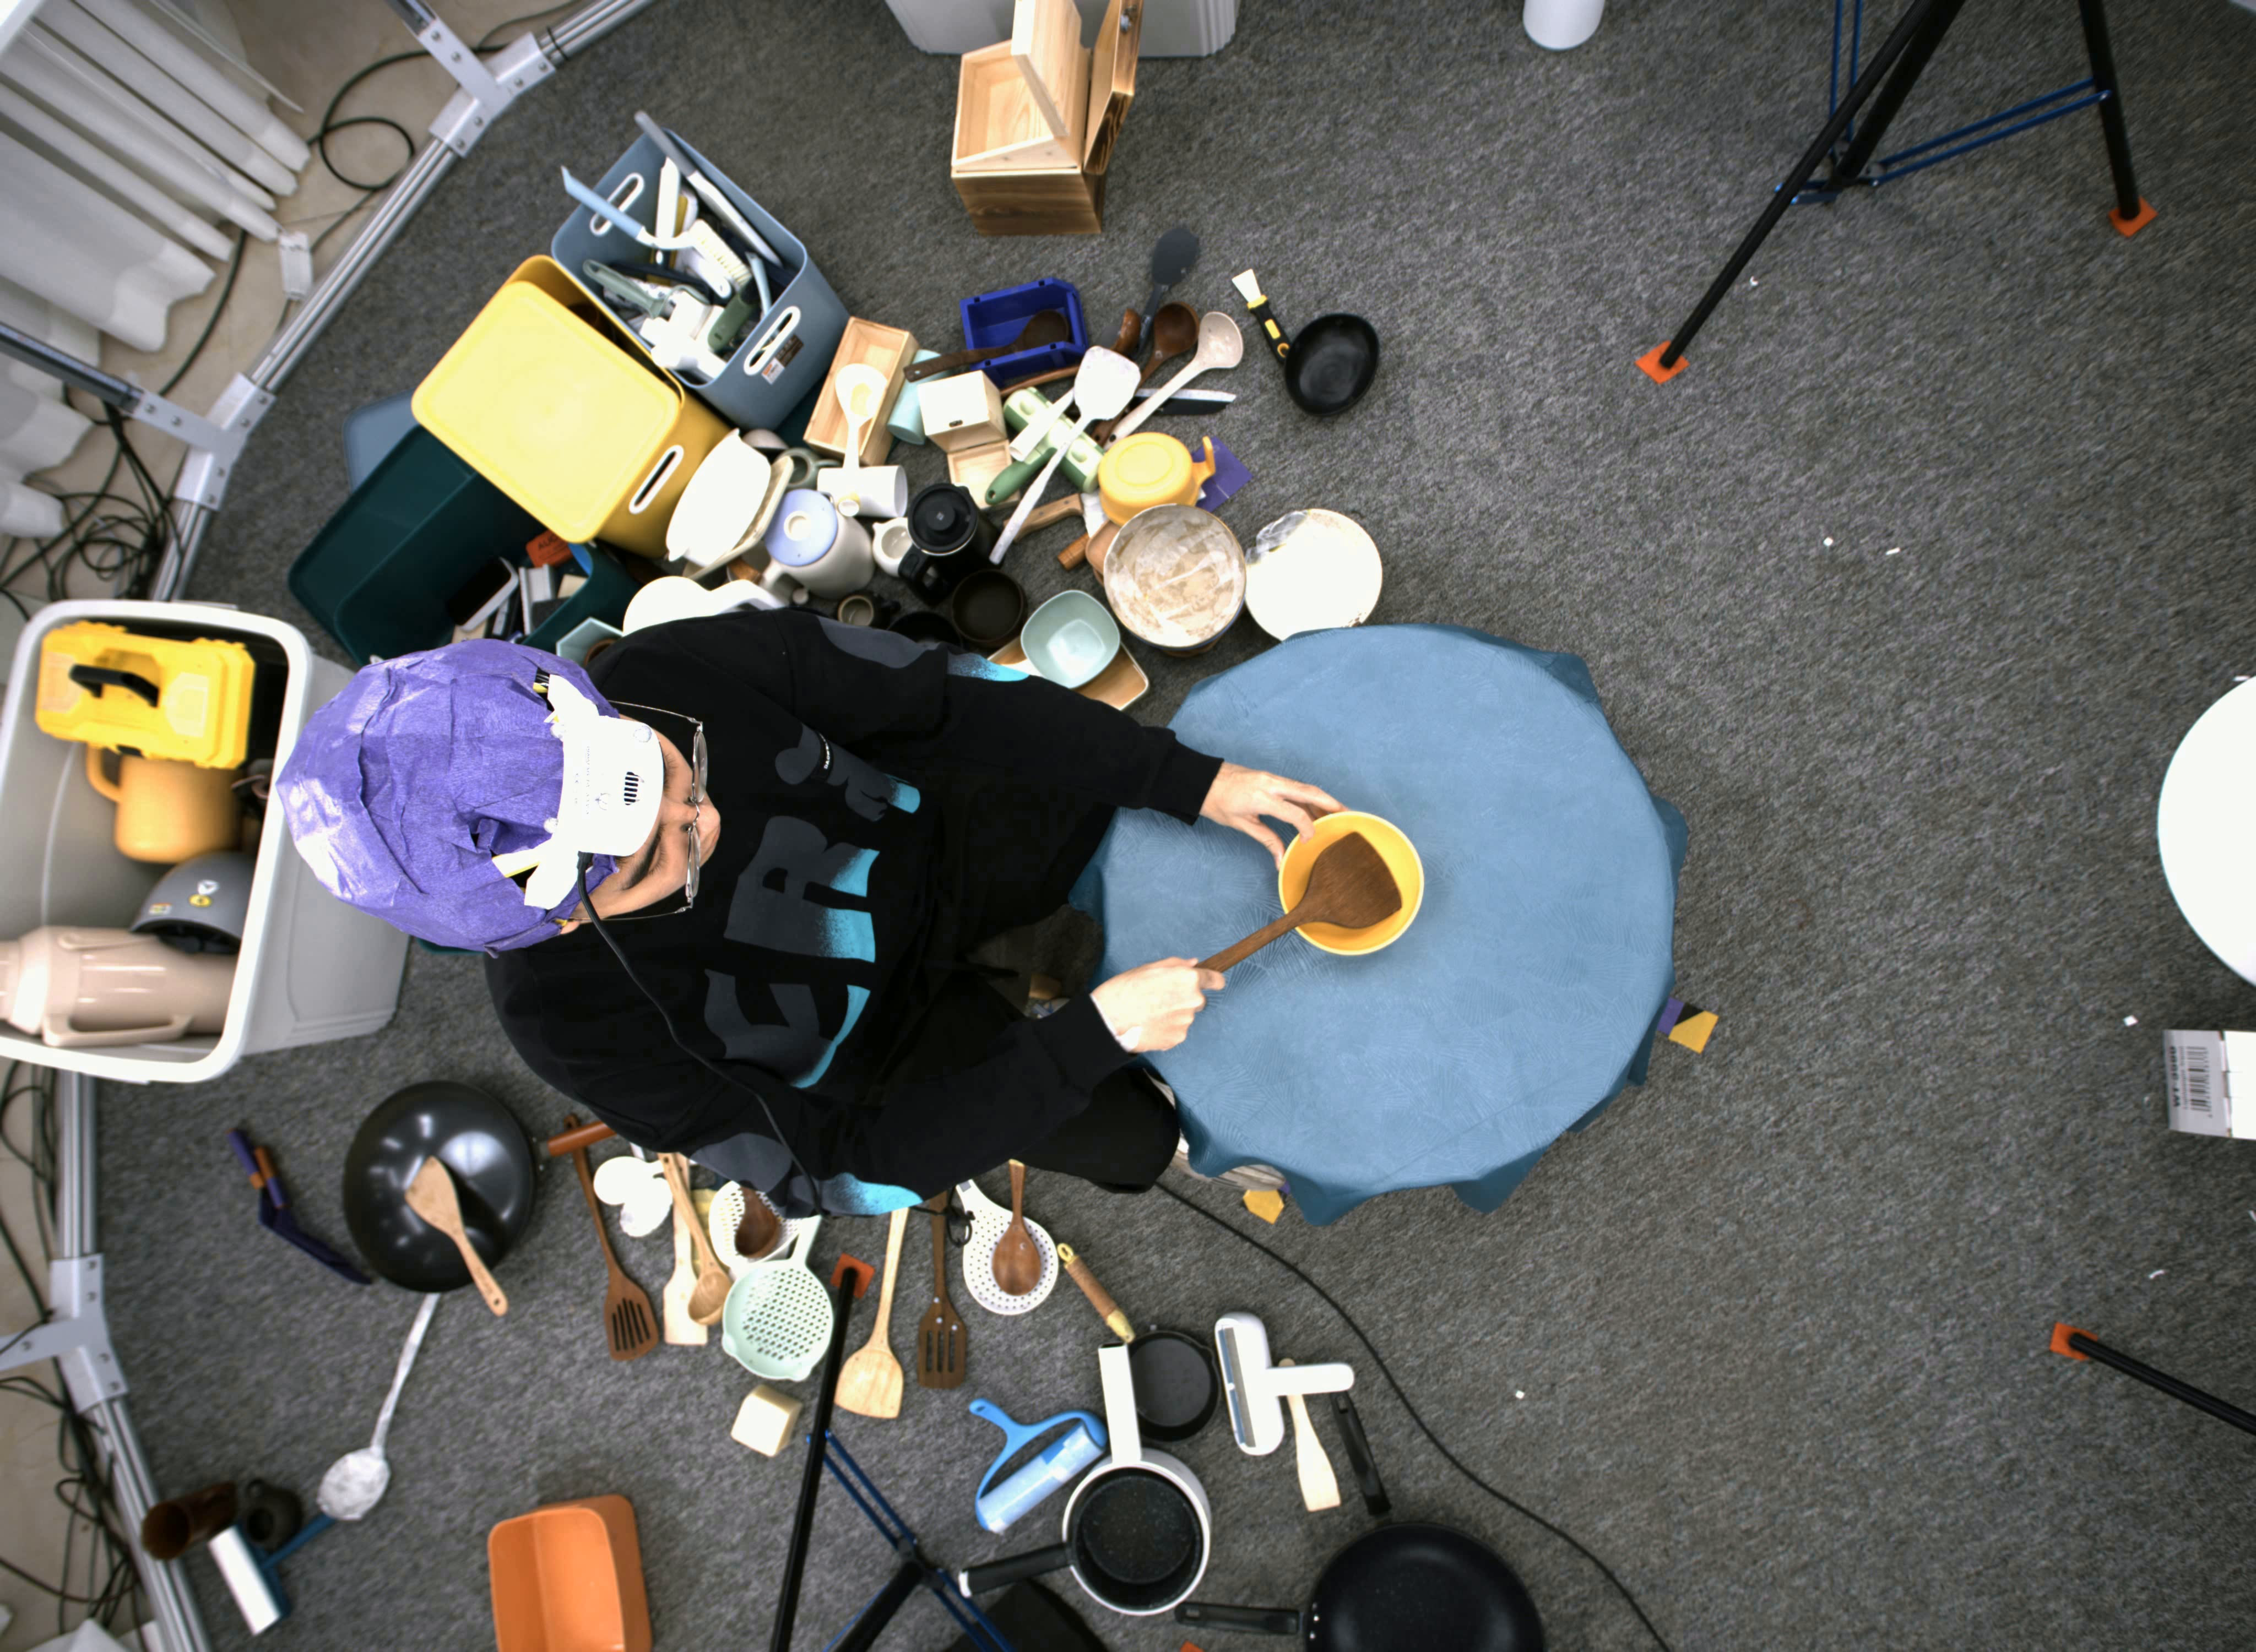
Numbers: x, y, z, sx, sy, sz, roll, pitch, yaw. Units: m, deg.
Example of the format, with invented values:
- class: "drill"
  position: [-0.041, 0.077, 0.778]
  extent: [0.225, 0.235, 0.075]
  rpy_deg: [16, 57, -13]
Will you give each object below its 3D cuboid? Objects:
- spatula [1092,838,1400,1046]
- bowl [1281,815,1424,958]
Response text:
- class: "spatula"
  position: [0.118, 0.117, 1.339]
  extent: [0.380, 0.016, 0.095]
  rpy_deg: [-26, 82, -31]
- class: "bowl"
  position: [0.231, 0.061, 1.425]
  extent: [0.146, 0.060, 0.145]
  rpy_deg: [0, 92, 12]
